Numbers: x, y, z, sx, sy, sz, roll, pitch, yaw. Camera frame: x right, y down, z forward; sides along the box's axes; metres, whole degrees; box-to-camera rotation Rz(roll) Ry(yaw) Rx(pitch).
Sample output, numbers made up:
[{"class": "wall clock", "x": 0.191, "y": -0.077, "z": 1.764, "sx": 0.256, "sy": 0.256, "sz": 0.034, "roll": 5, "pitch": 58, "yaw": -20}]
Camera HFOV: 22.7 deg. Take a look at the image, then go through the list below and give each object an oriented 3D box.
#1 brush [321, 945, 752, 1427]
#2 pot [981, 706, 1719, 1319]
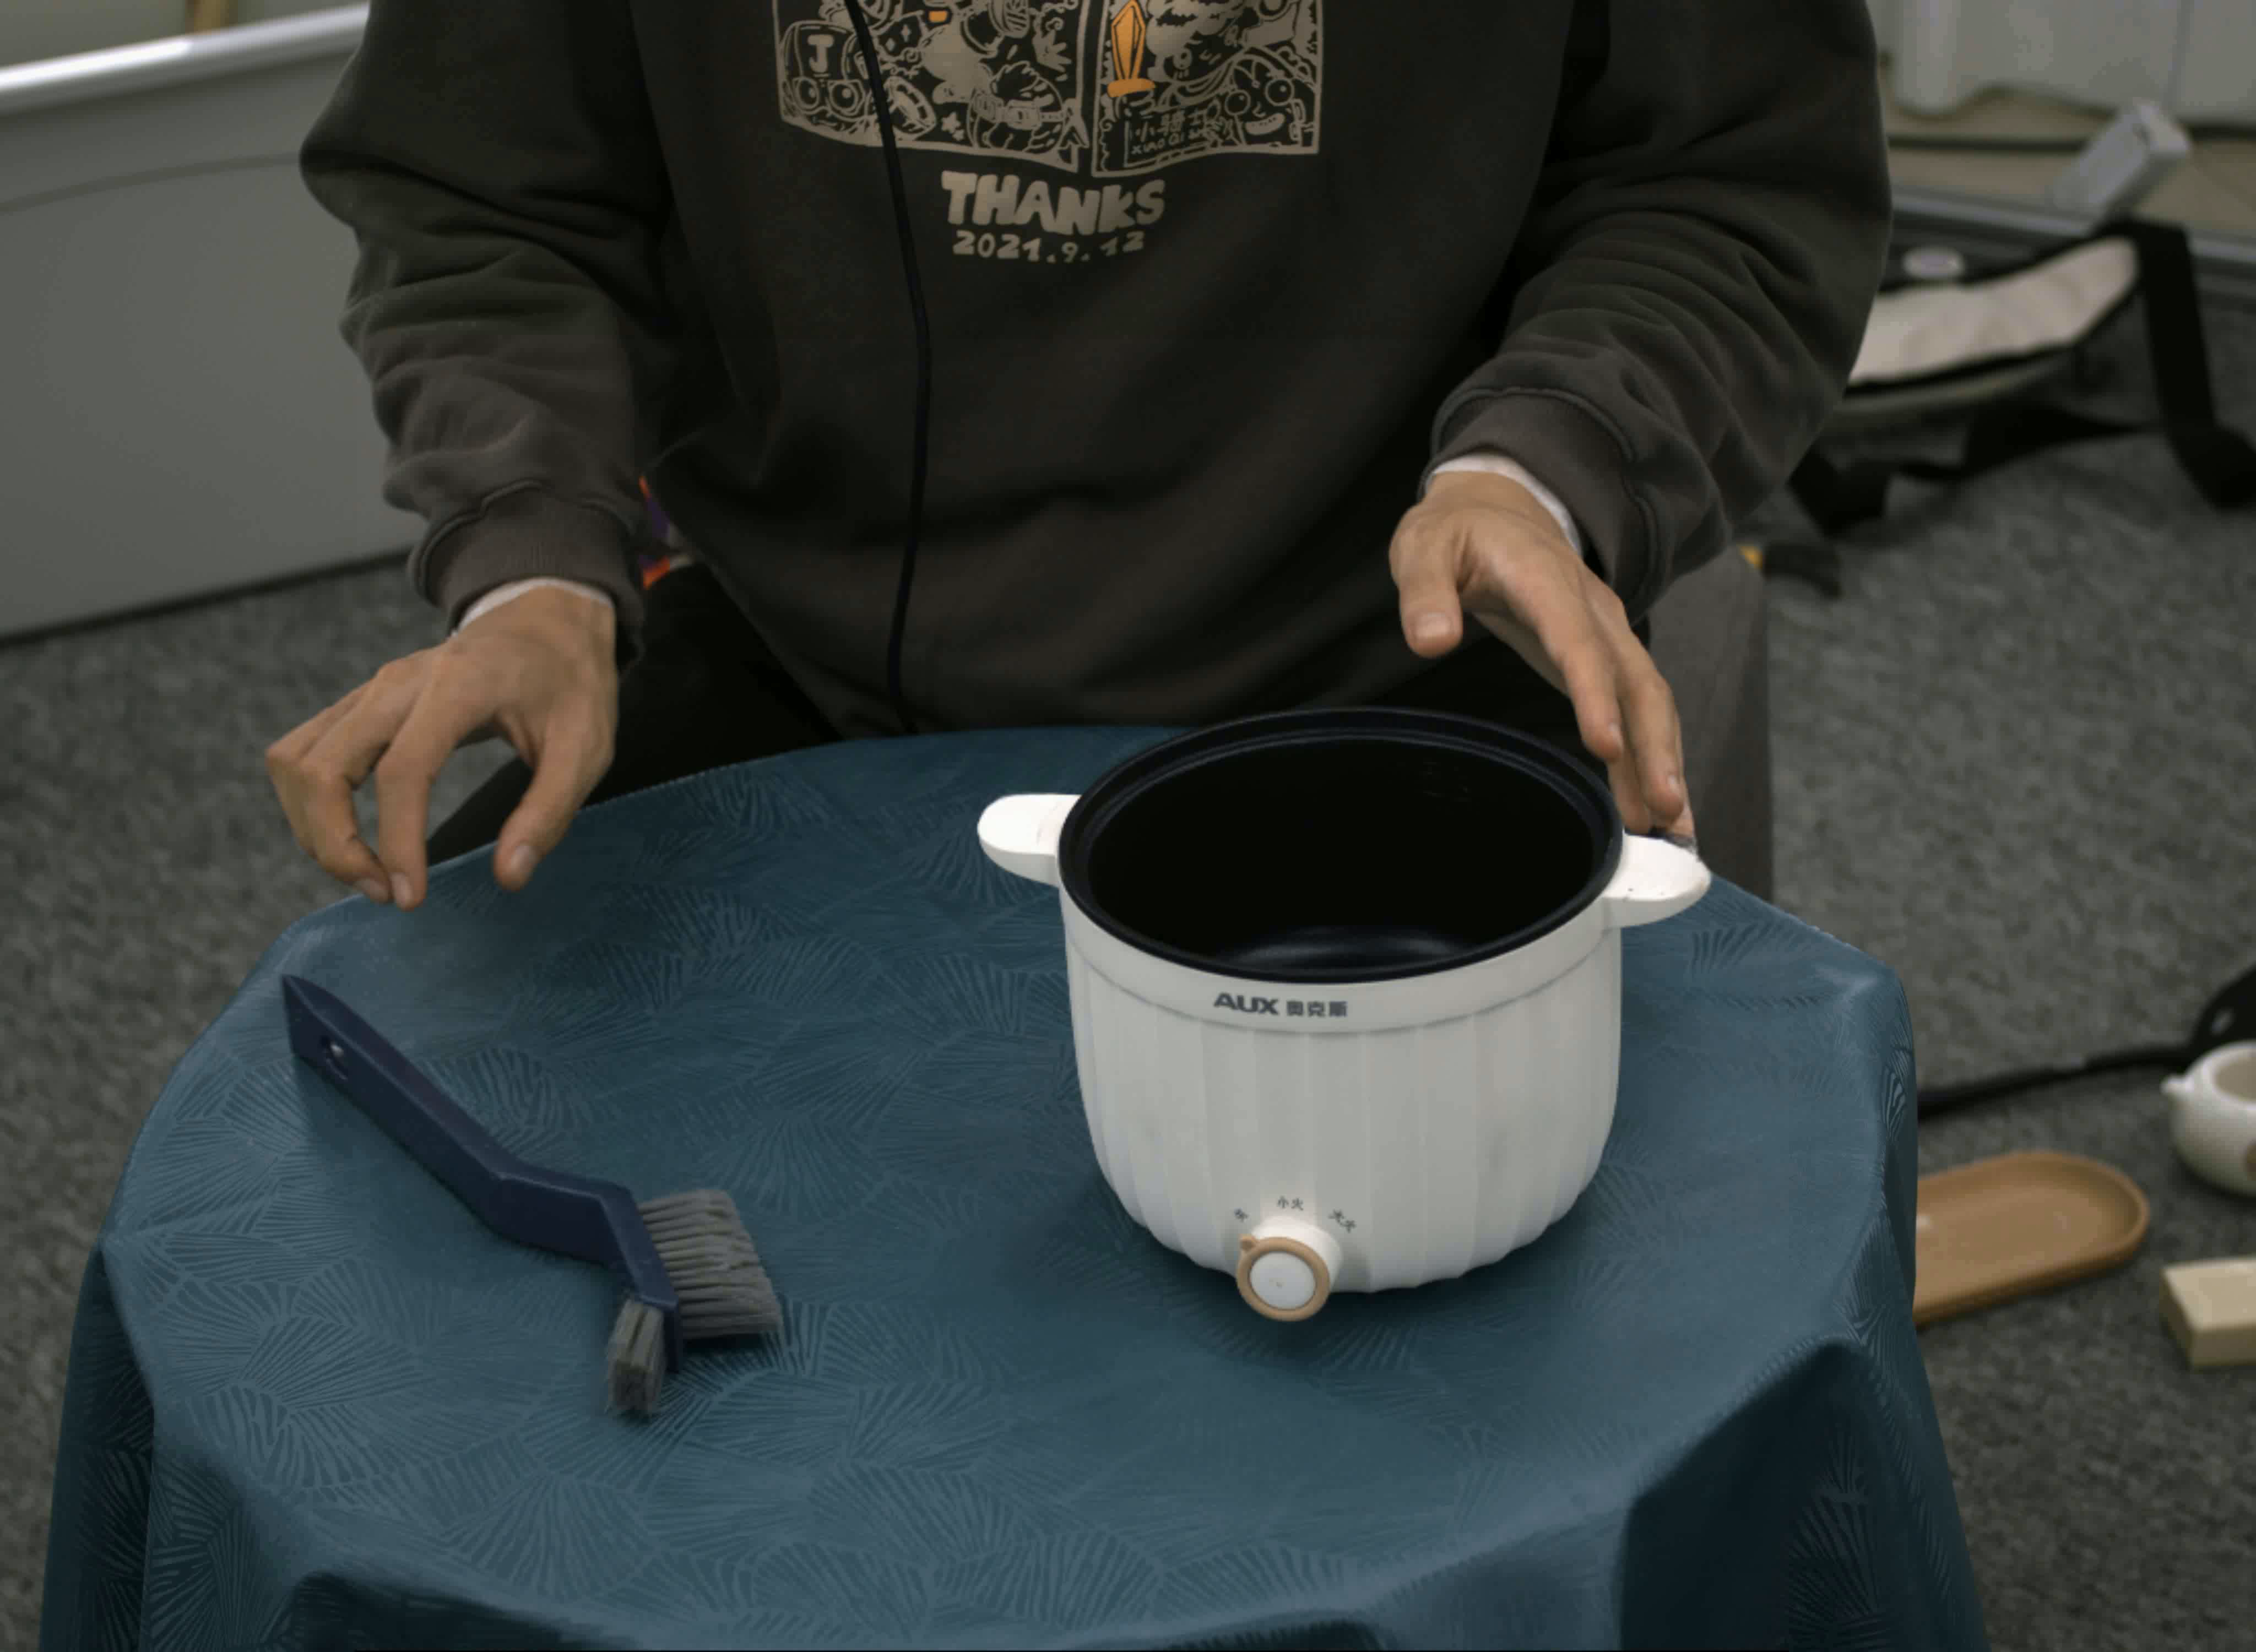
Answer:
[{"class": "brush", "x": -0.216, "y": 0.115, "z": 1.857, "sx": 0.096, "sy": 0.033, "sz": 0.273, "roll": -20, "pitch": 34, "yaw": -35}, {"class": "pot", "x": 0.072, "y": 0.063, "z": 1.817, "sx": 0.238, "sy": 0.141, "sz": 0.193, "roll": 3, "pitch": 24, "yaw": 14}]
